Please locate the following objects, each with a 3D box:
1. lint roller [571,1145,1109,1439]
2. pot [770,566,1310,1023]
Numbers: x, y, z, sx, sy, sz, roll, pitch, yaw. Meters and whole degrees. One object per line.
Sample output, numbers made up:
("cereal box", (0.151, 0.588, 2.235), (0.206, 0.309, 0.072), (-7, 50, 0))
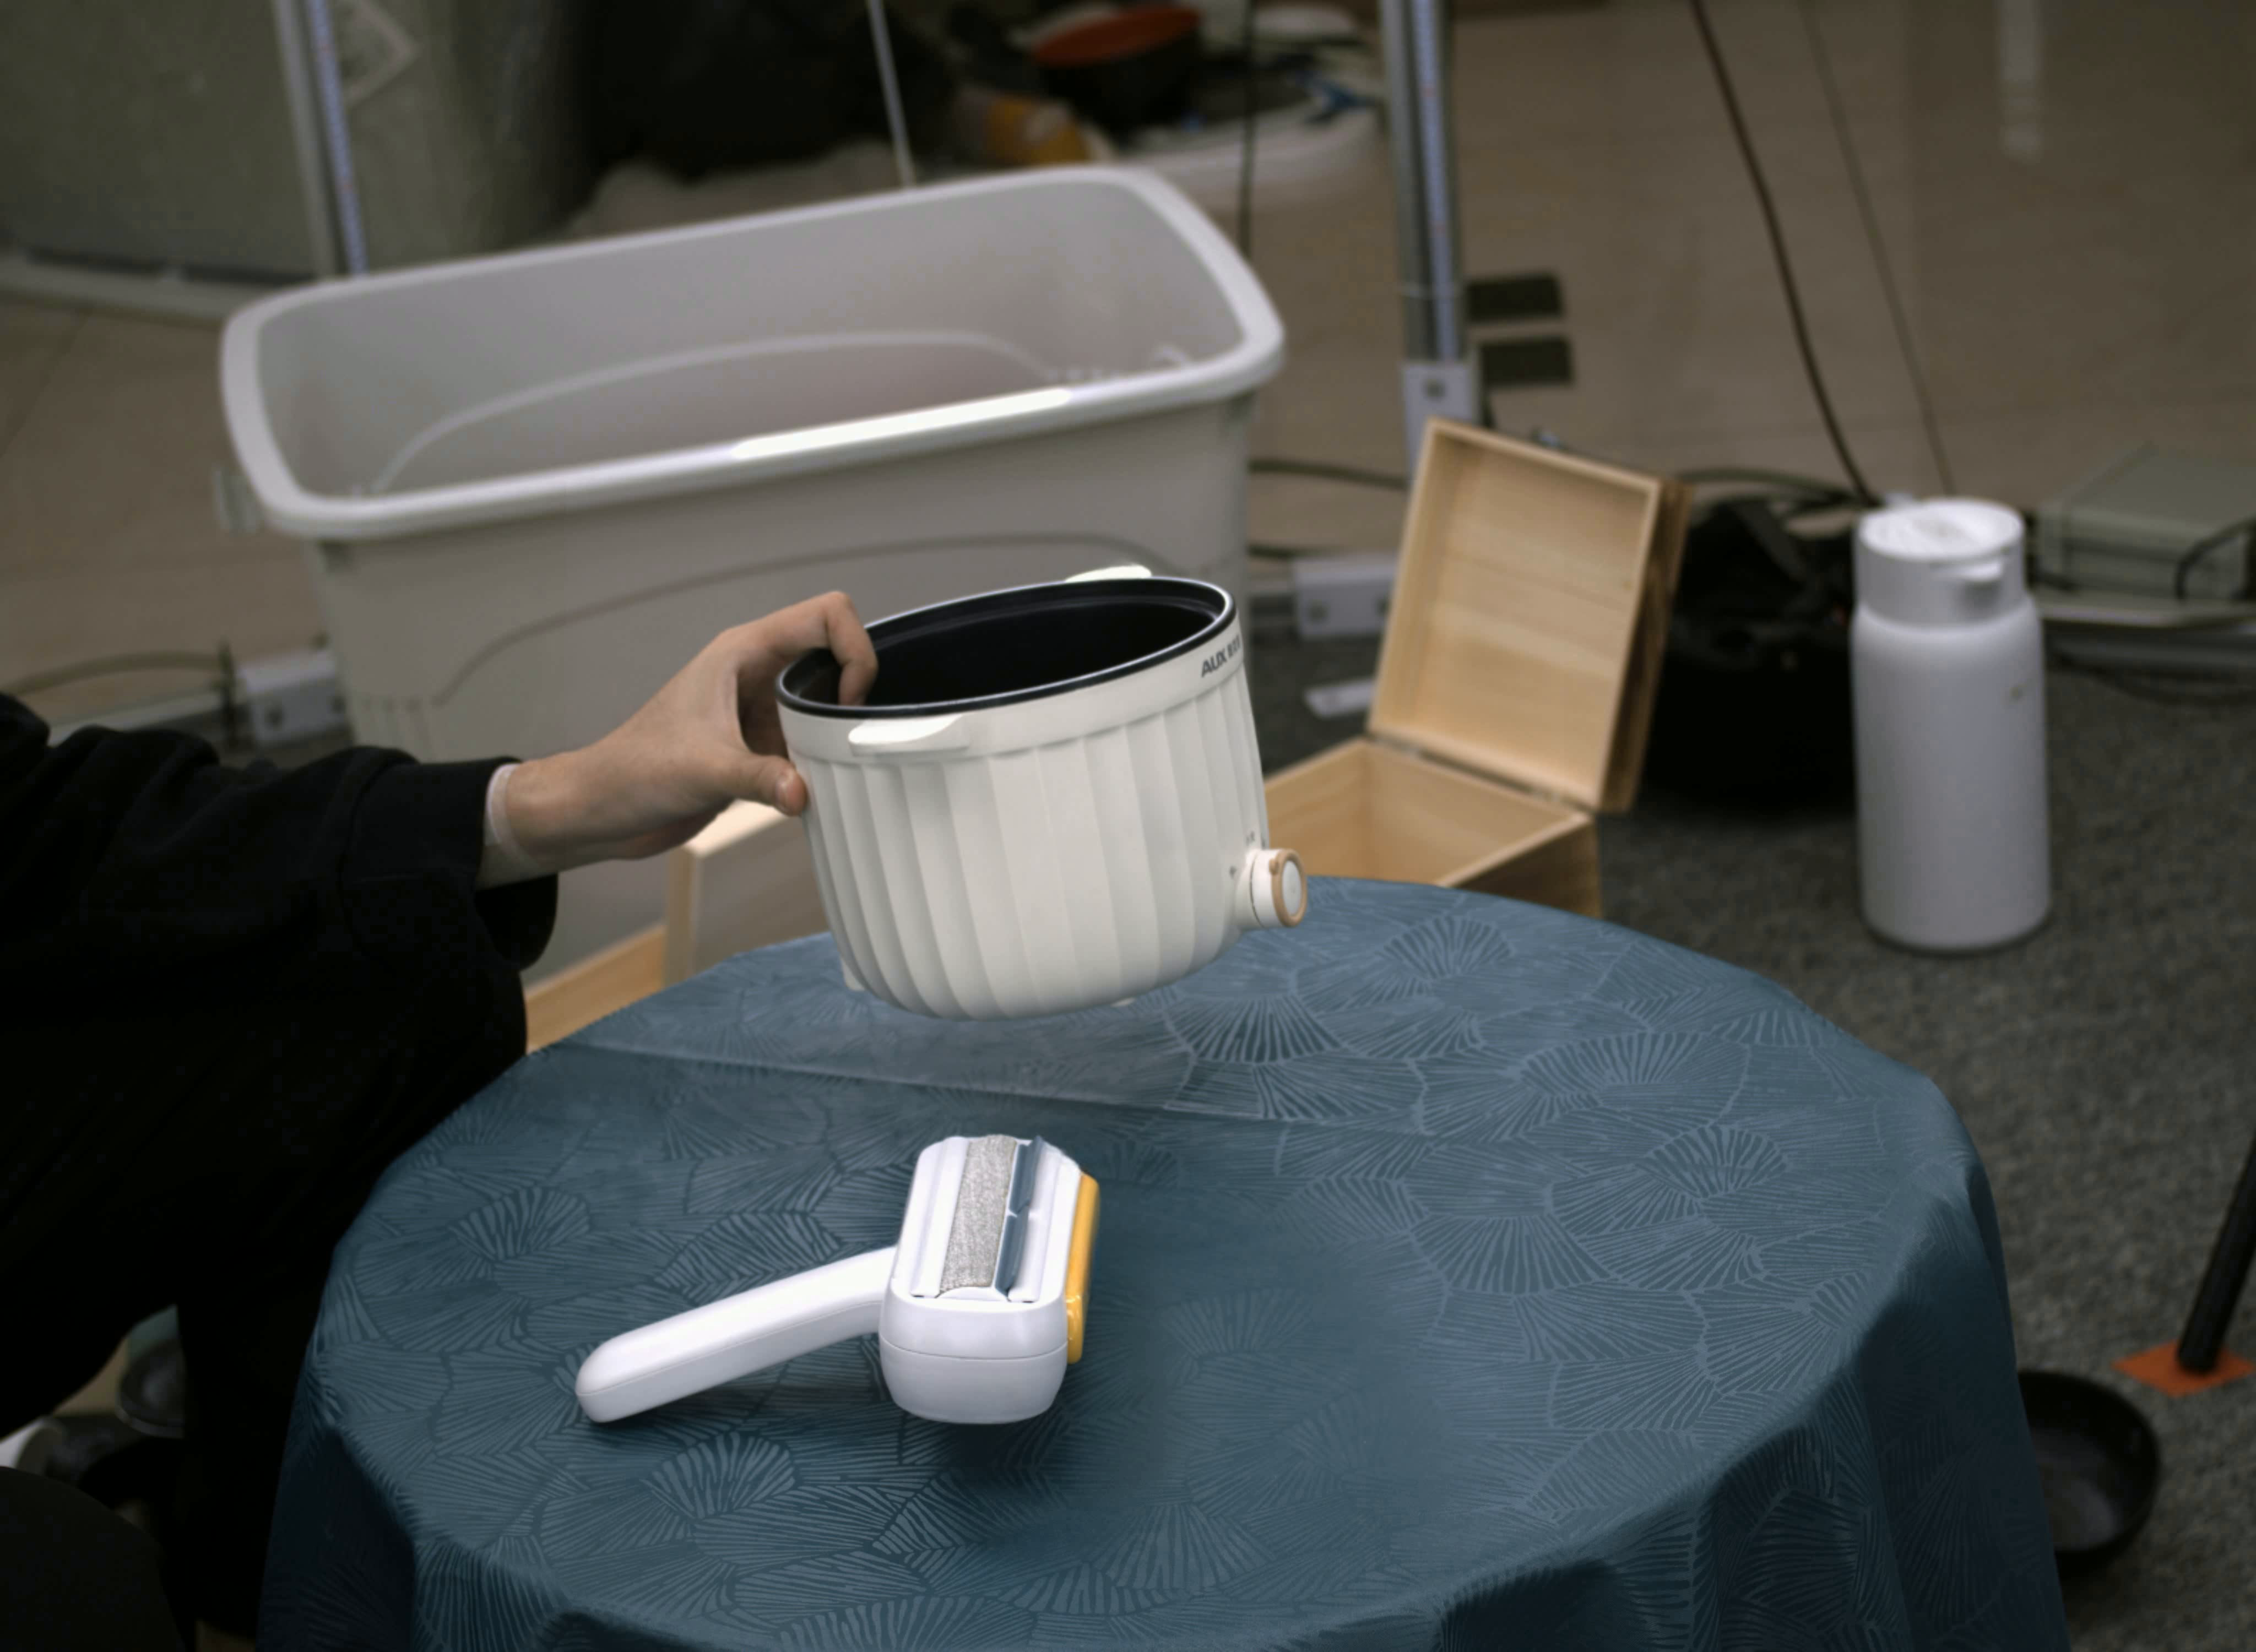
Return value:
("lint roller", (-0.107, 0.173, 2.016), (0.192, 0.075, 0.190), (-5, 19, 7))
("pot", (-0.031, -0.009, 2.182), (0.190, 0.144, 0.238), (-6, 17, 24))
